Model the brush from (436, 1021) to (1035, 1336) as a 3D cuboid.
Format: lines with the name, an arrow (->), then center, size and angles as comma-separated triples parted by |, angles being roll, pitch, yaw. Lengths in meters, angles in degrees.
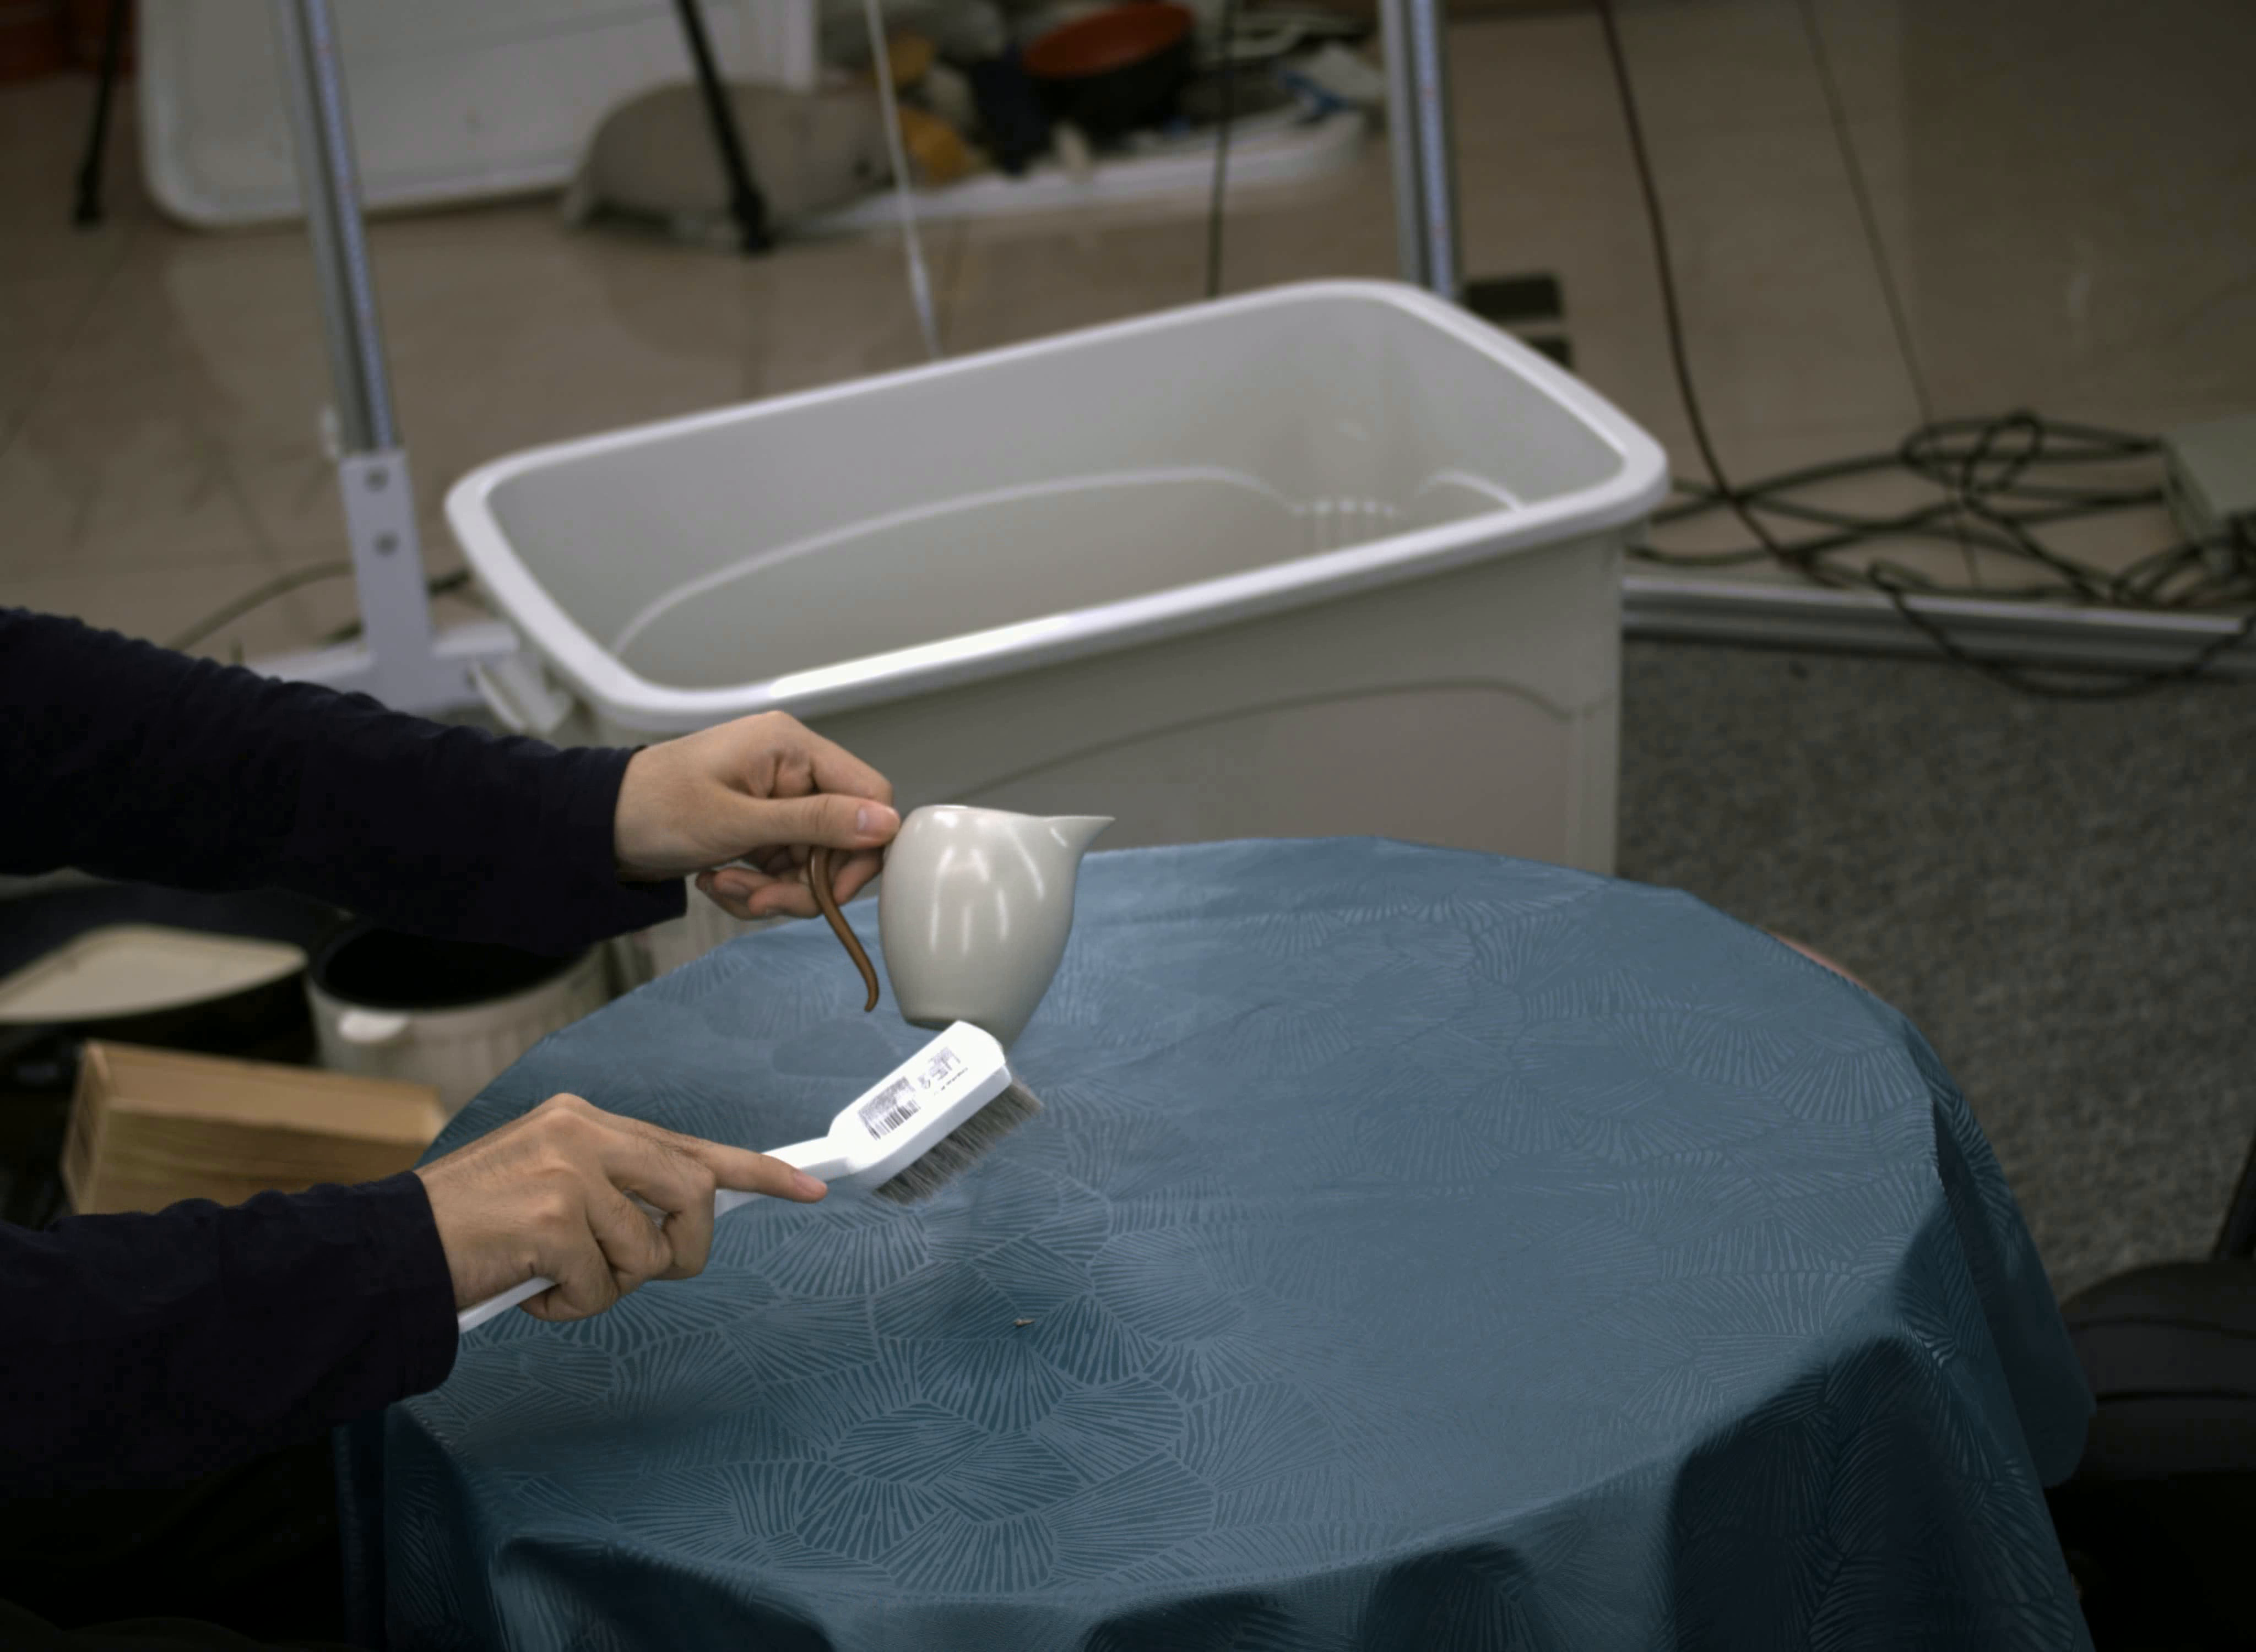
brush -> -0.139, 0.139, 2.035 | 0.242, 0.051, 0.034 | -27, 44, -25

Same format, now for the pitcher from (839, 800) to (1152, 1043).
pitcher -> -0.058, 0.034, 2.181 | 0.119, 0.087, 0.076 | 10, -11, 11
